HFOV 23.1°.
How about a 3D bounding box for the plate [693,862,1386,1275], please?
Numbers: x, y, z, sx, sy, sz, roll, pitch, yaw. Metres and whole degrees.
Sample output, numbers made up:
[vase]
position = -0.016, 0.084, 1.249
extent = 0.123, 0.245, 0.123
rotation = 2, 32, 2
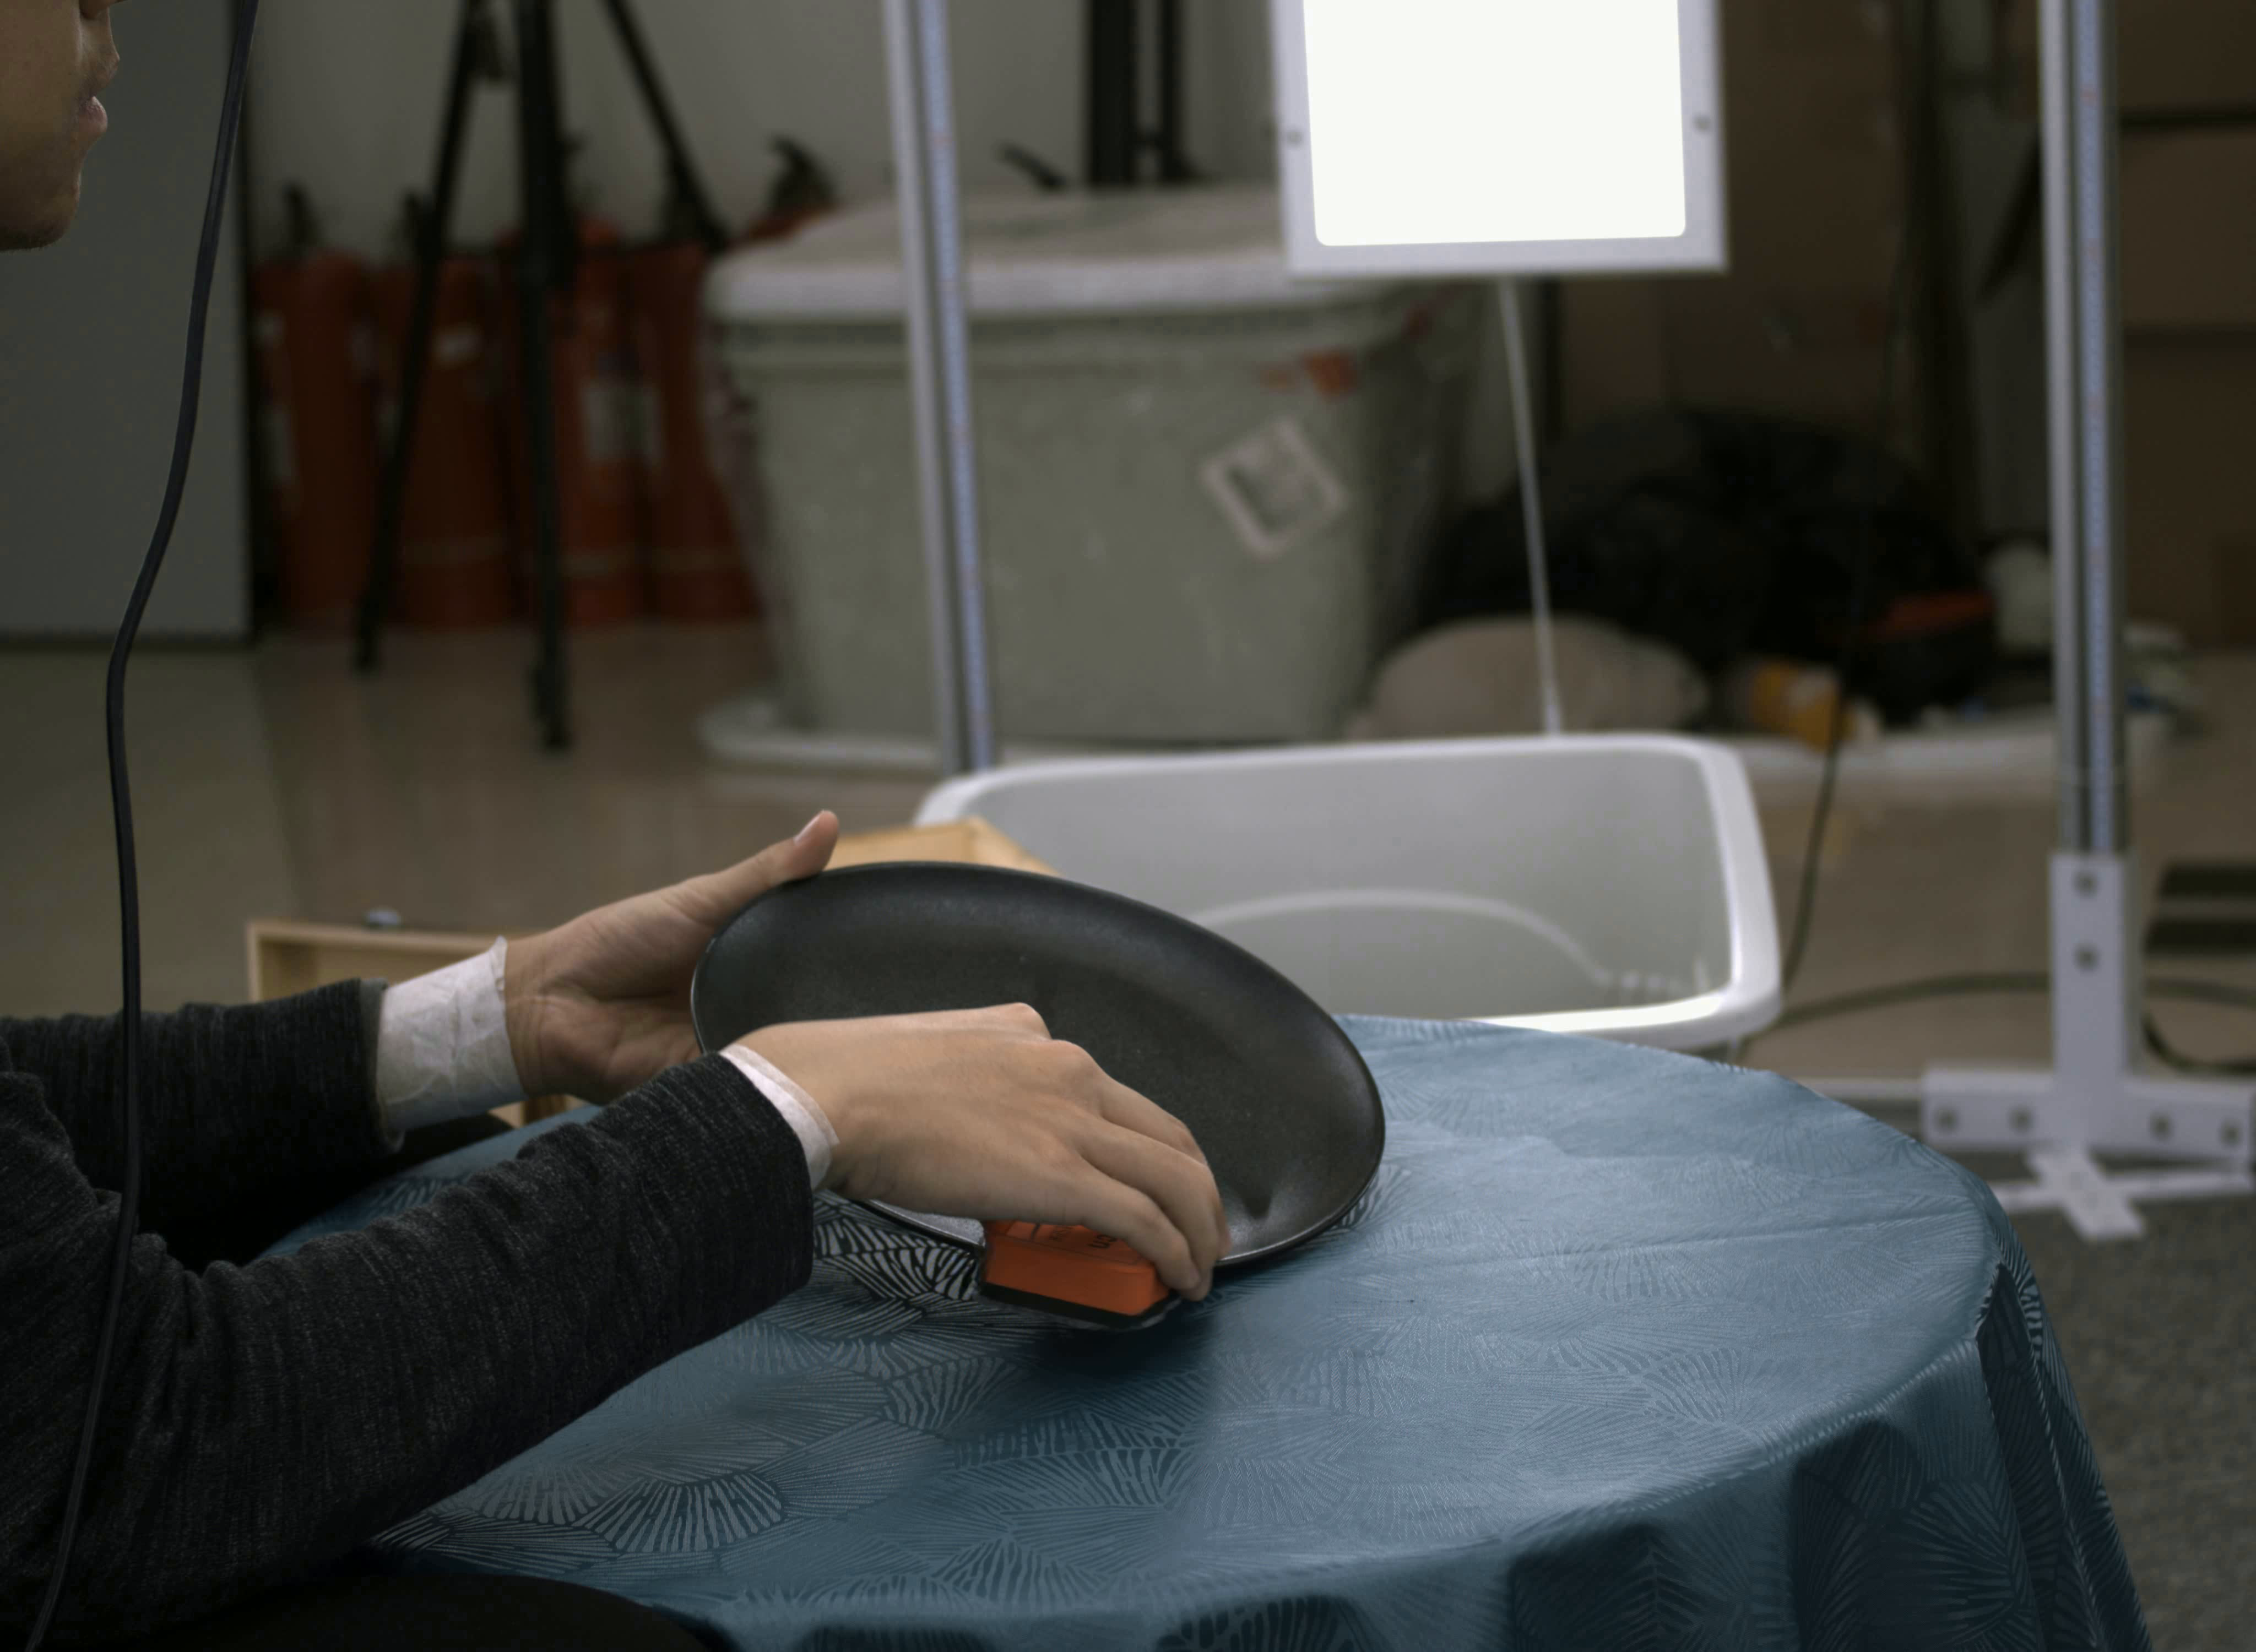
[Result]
[plate]
position = -0.031, 0.086, 1.880
extent = 0.242, 0.023, 0.244
rotation = 9, 30, -7

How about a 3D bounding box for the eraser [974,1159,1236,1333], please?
[eraser]
position = -0.006, 0.133, 1.759
extent = 0.059, 0.023, 0.106
rotation = 9, 13, 17
